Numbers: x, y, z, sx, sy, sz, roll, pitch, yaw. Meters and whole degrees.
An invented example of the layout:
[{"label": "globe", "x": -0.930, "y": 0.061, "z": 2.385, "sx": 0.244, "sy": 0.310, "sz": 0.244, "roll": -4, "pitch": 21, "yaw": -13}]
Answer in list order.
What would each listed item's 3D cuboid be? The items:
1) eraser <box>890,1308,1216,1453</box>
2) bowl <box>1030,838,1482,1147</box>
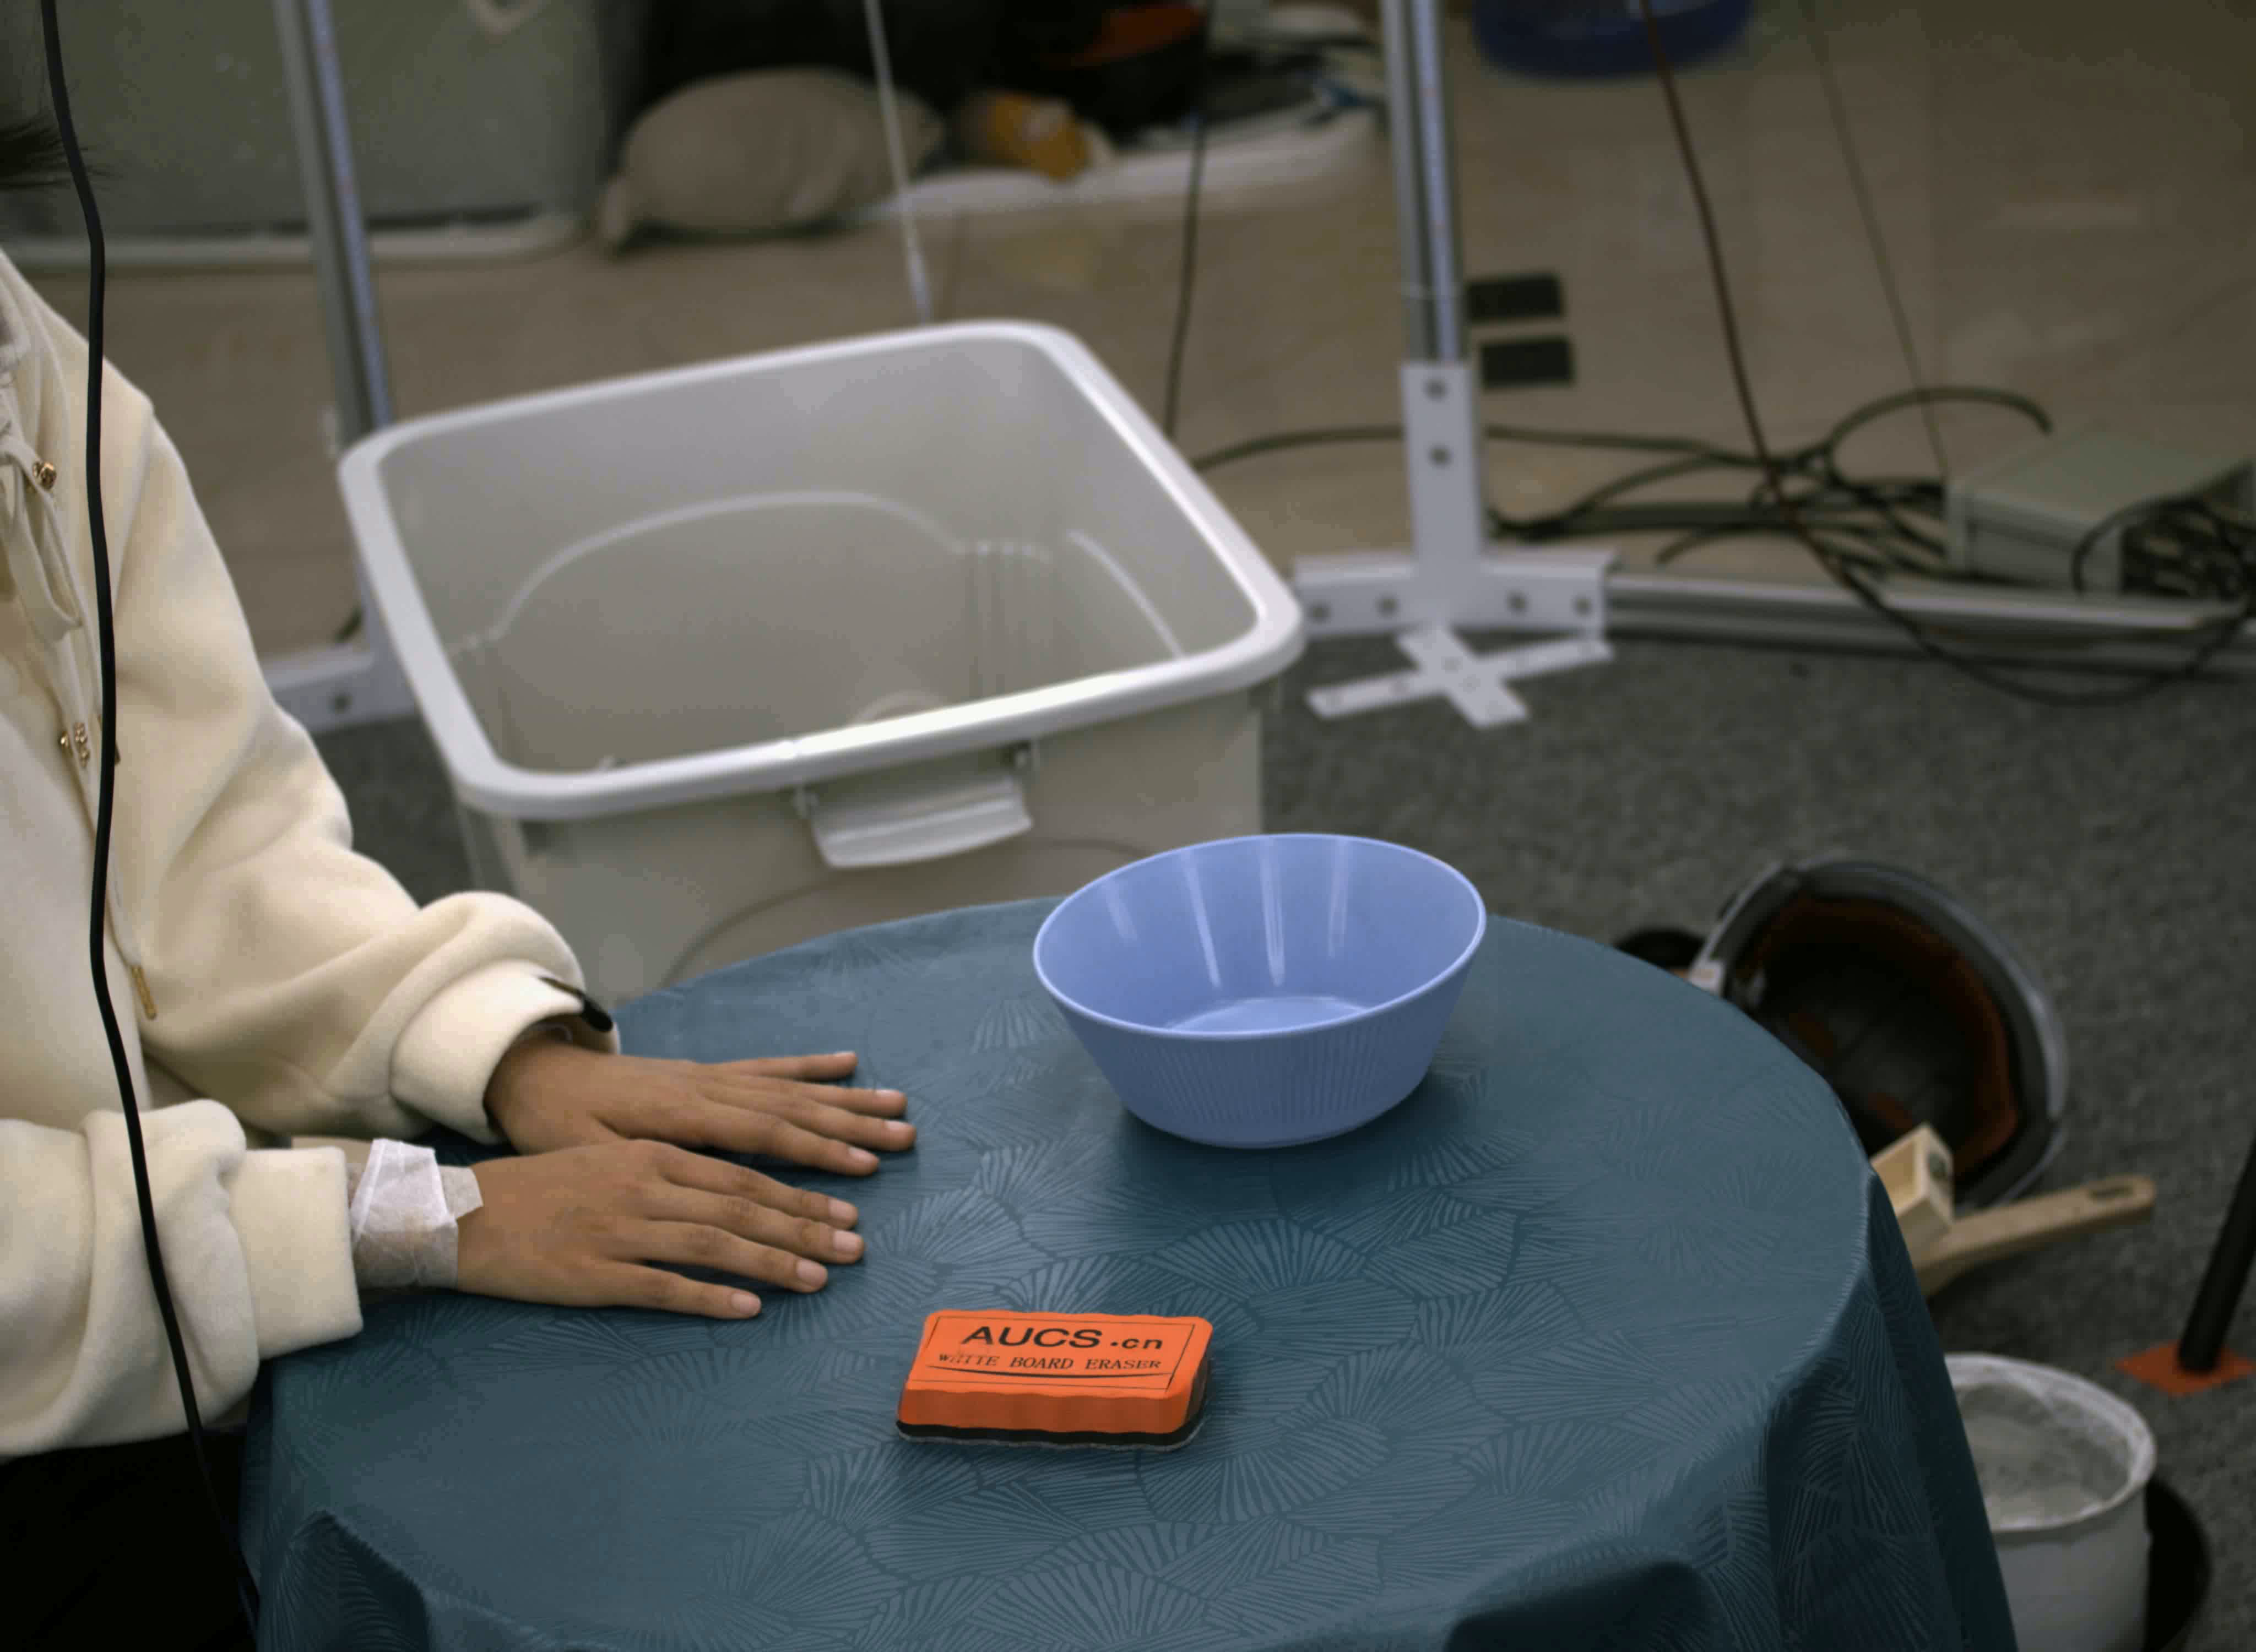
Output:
[{"label": "eraser", "x": -0.026, "y": 0.196, "z": 2.006, "sx": 0.108, "sy": 0.023, "sz": 0.058, "roll": 1, "pitch": 28, "yaw": 16}, {"label": "bowl", "x": 0.052, "y": 0.070, "z": 2.198, "sx": 0.176, "sy": 0.071, "sz": 0.173, "roll": -5, "pitch": 25, "yaw": 3}]
